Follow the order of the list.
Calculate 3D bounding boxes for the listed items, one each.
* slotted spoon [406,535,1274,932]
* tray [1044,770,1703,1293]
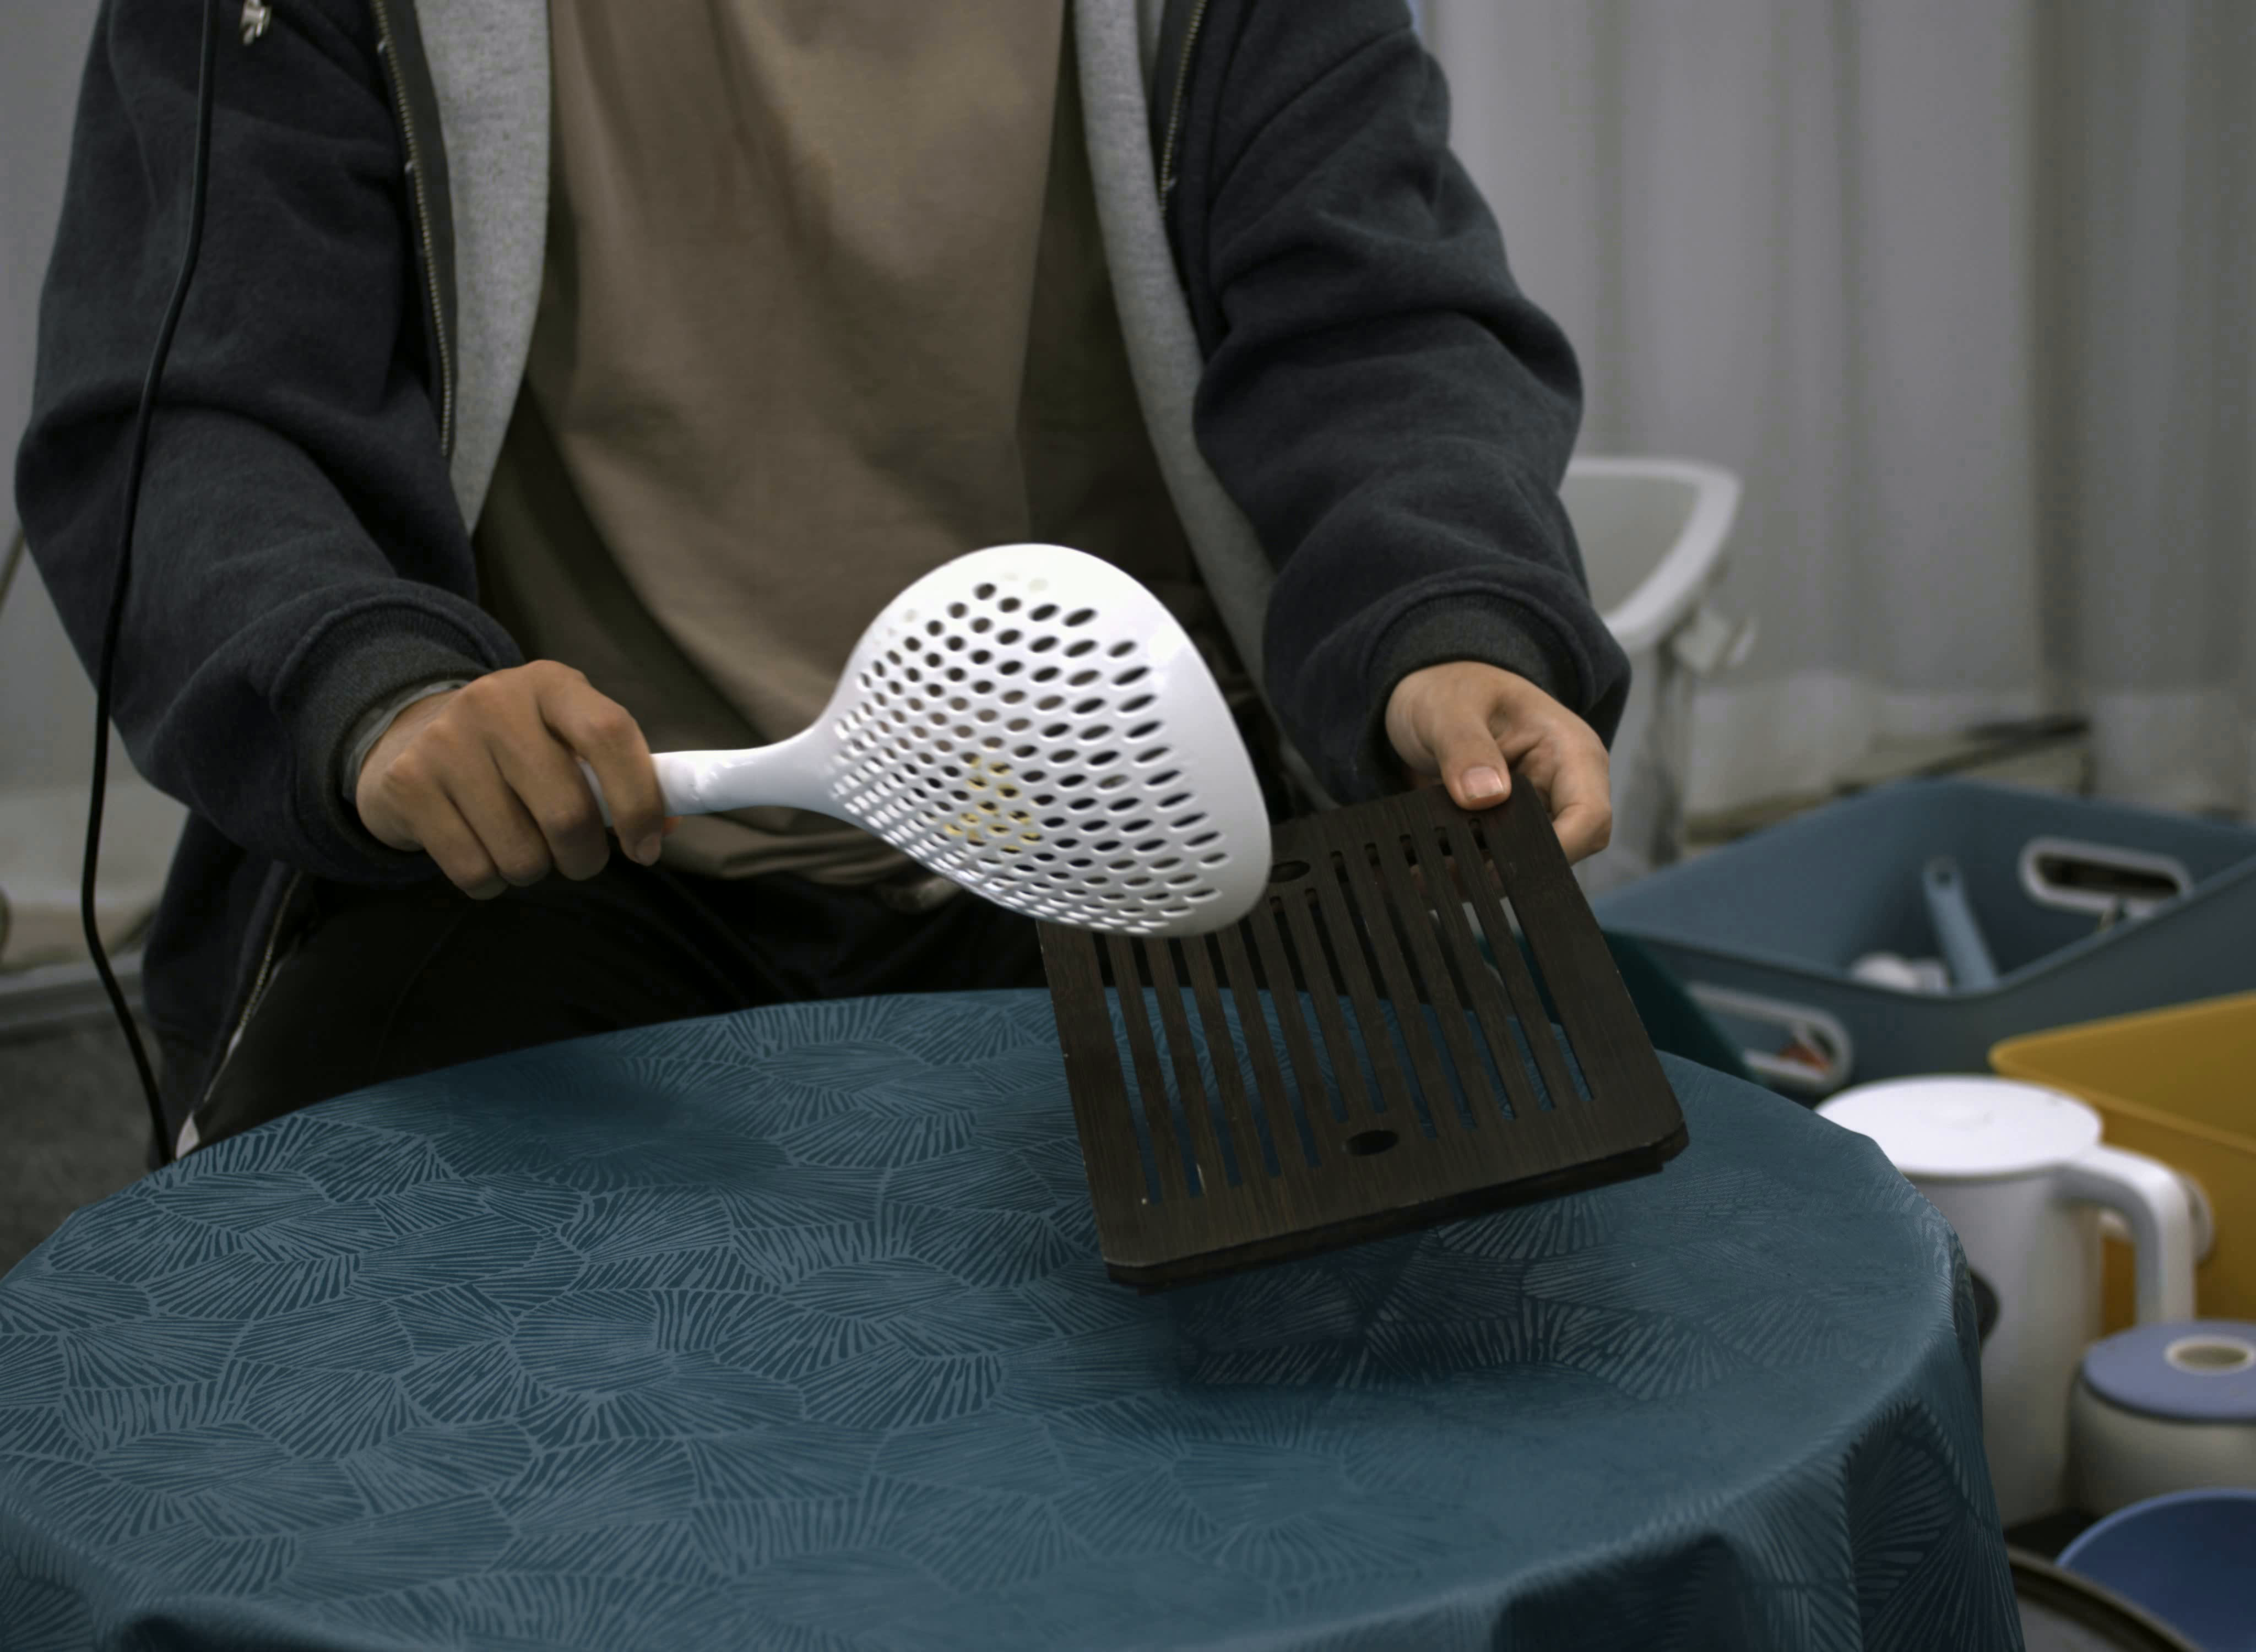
[{"bbox_3d":[-0.100,-0.014,1.702,0.349,0.136,0.050,-2,30,47],"label":"slotted spoon"},{"bbox_3d":[0.067,0.059,1.668,0.169,0.018,0.309,-13,21,0],"label":"tray"}]
